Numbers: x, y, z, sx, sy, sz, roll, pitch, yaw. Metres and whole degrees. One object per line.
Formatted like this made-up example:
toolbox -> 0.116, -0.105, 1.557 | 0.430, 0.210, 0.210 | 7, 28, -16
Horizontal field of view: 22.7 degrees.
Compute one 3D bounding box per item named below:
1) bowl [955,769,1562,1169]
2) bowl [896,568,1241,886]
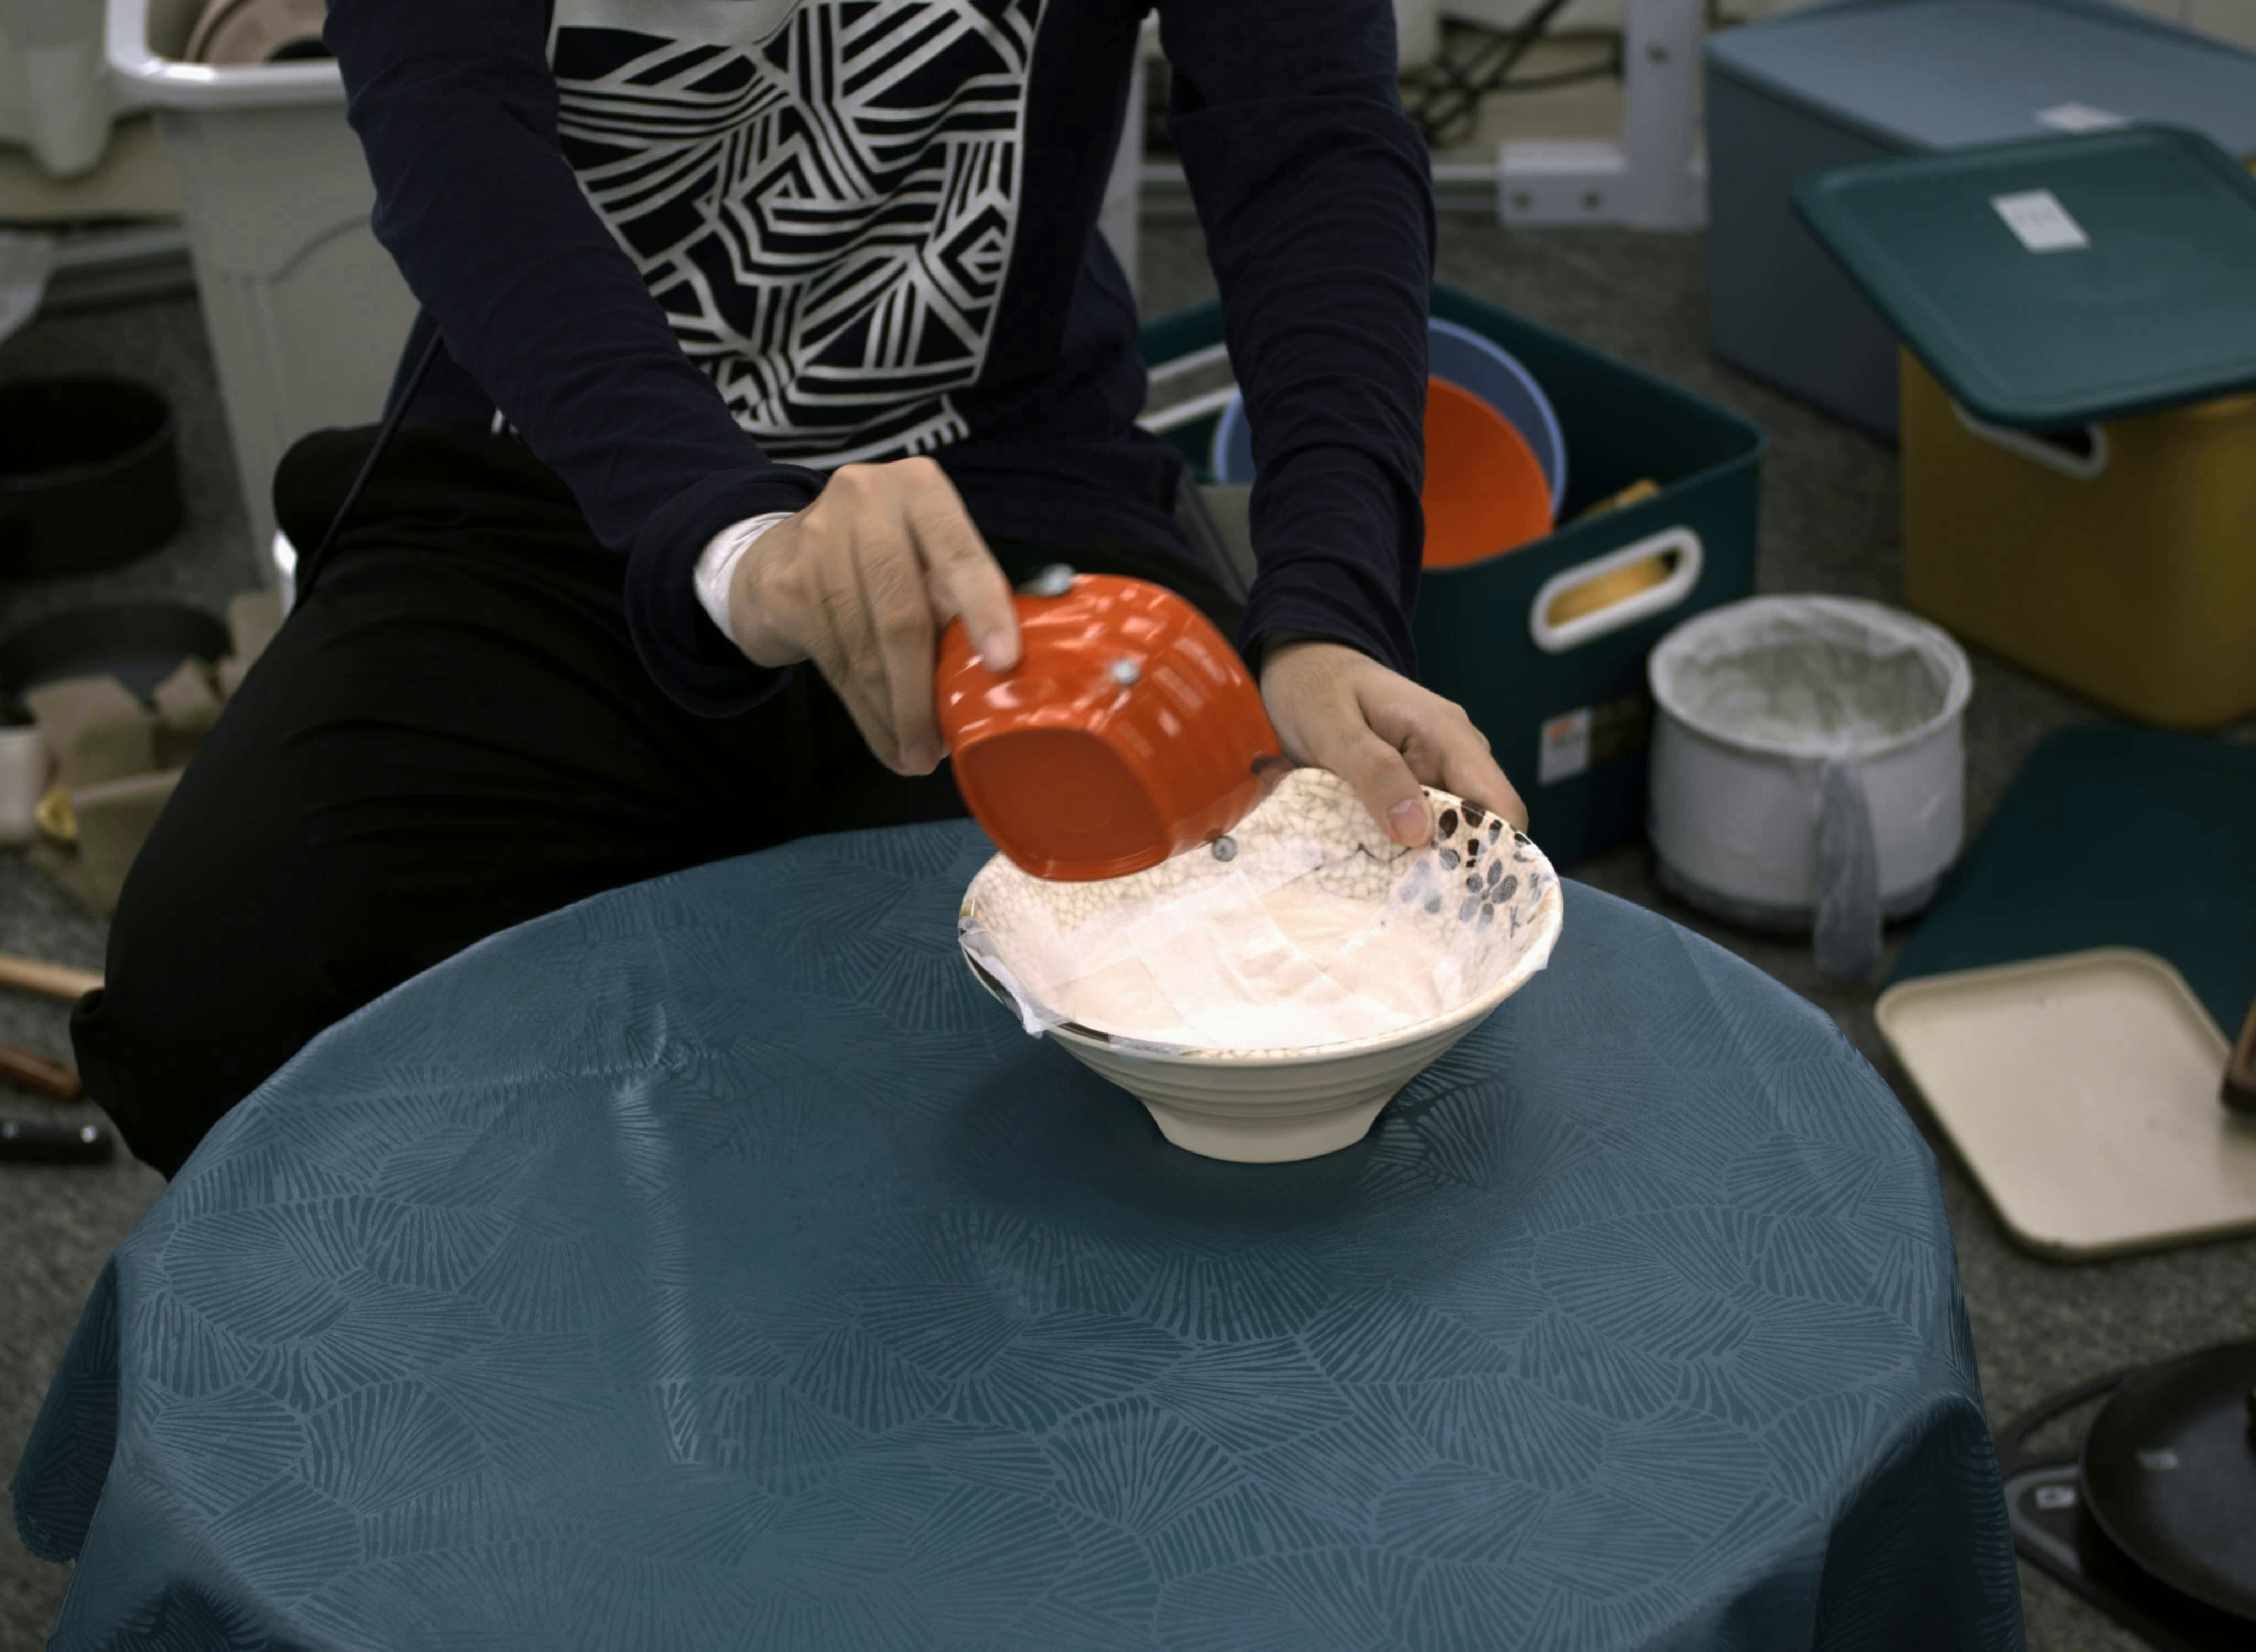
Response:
bowl -> 0.045, 0.060, 1.894 | 0.203, 0.077, 0.207 | -2, 27, 1
bowl -> -0.026, -0.023, 1.805 | 0.118, 0.117, 0.052 | 8, 41, 19
